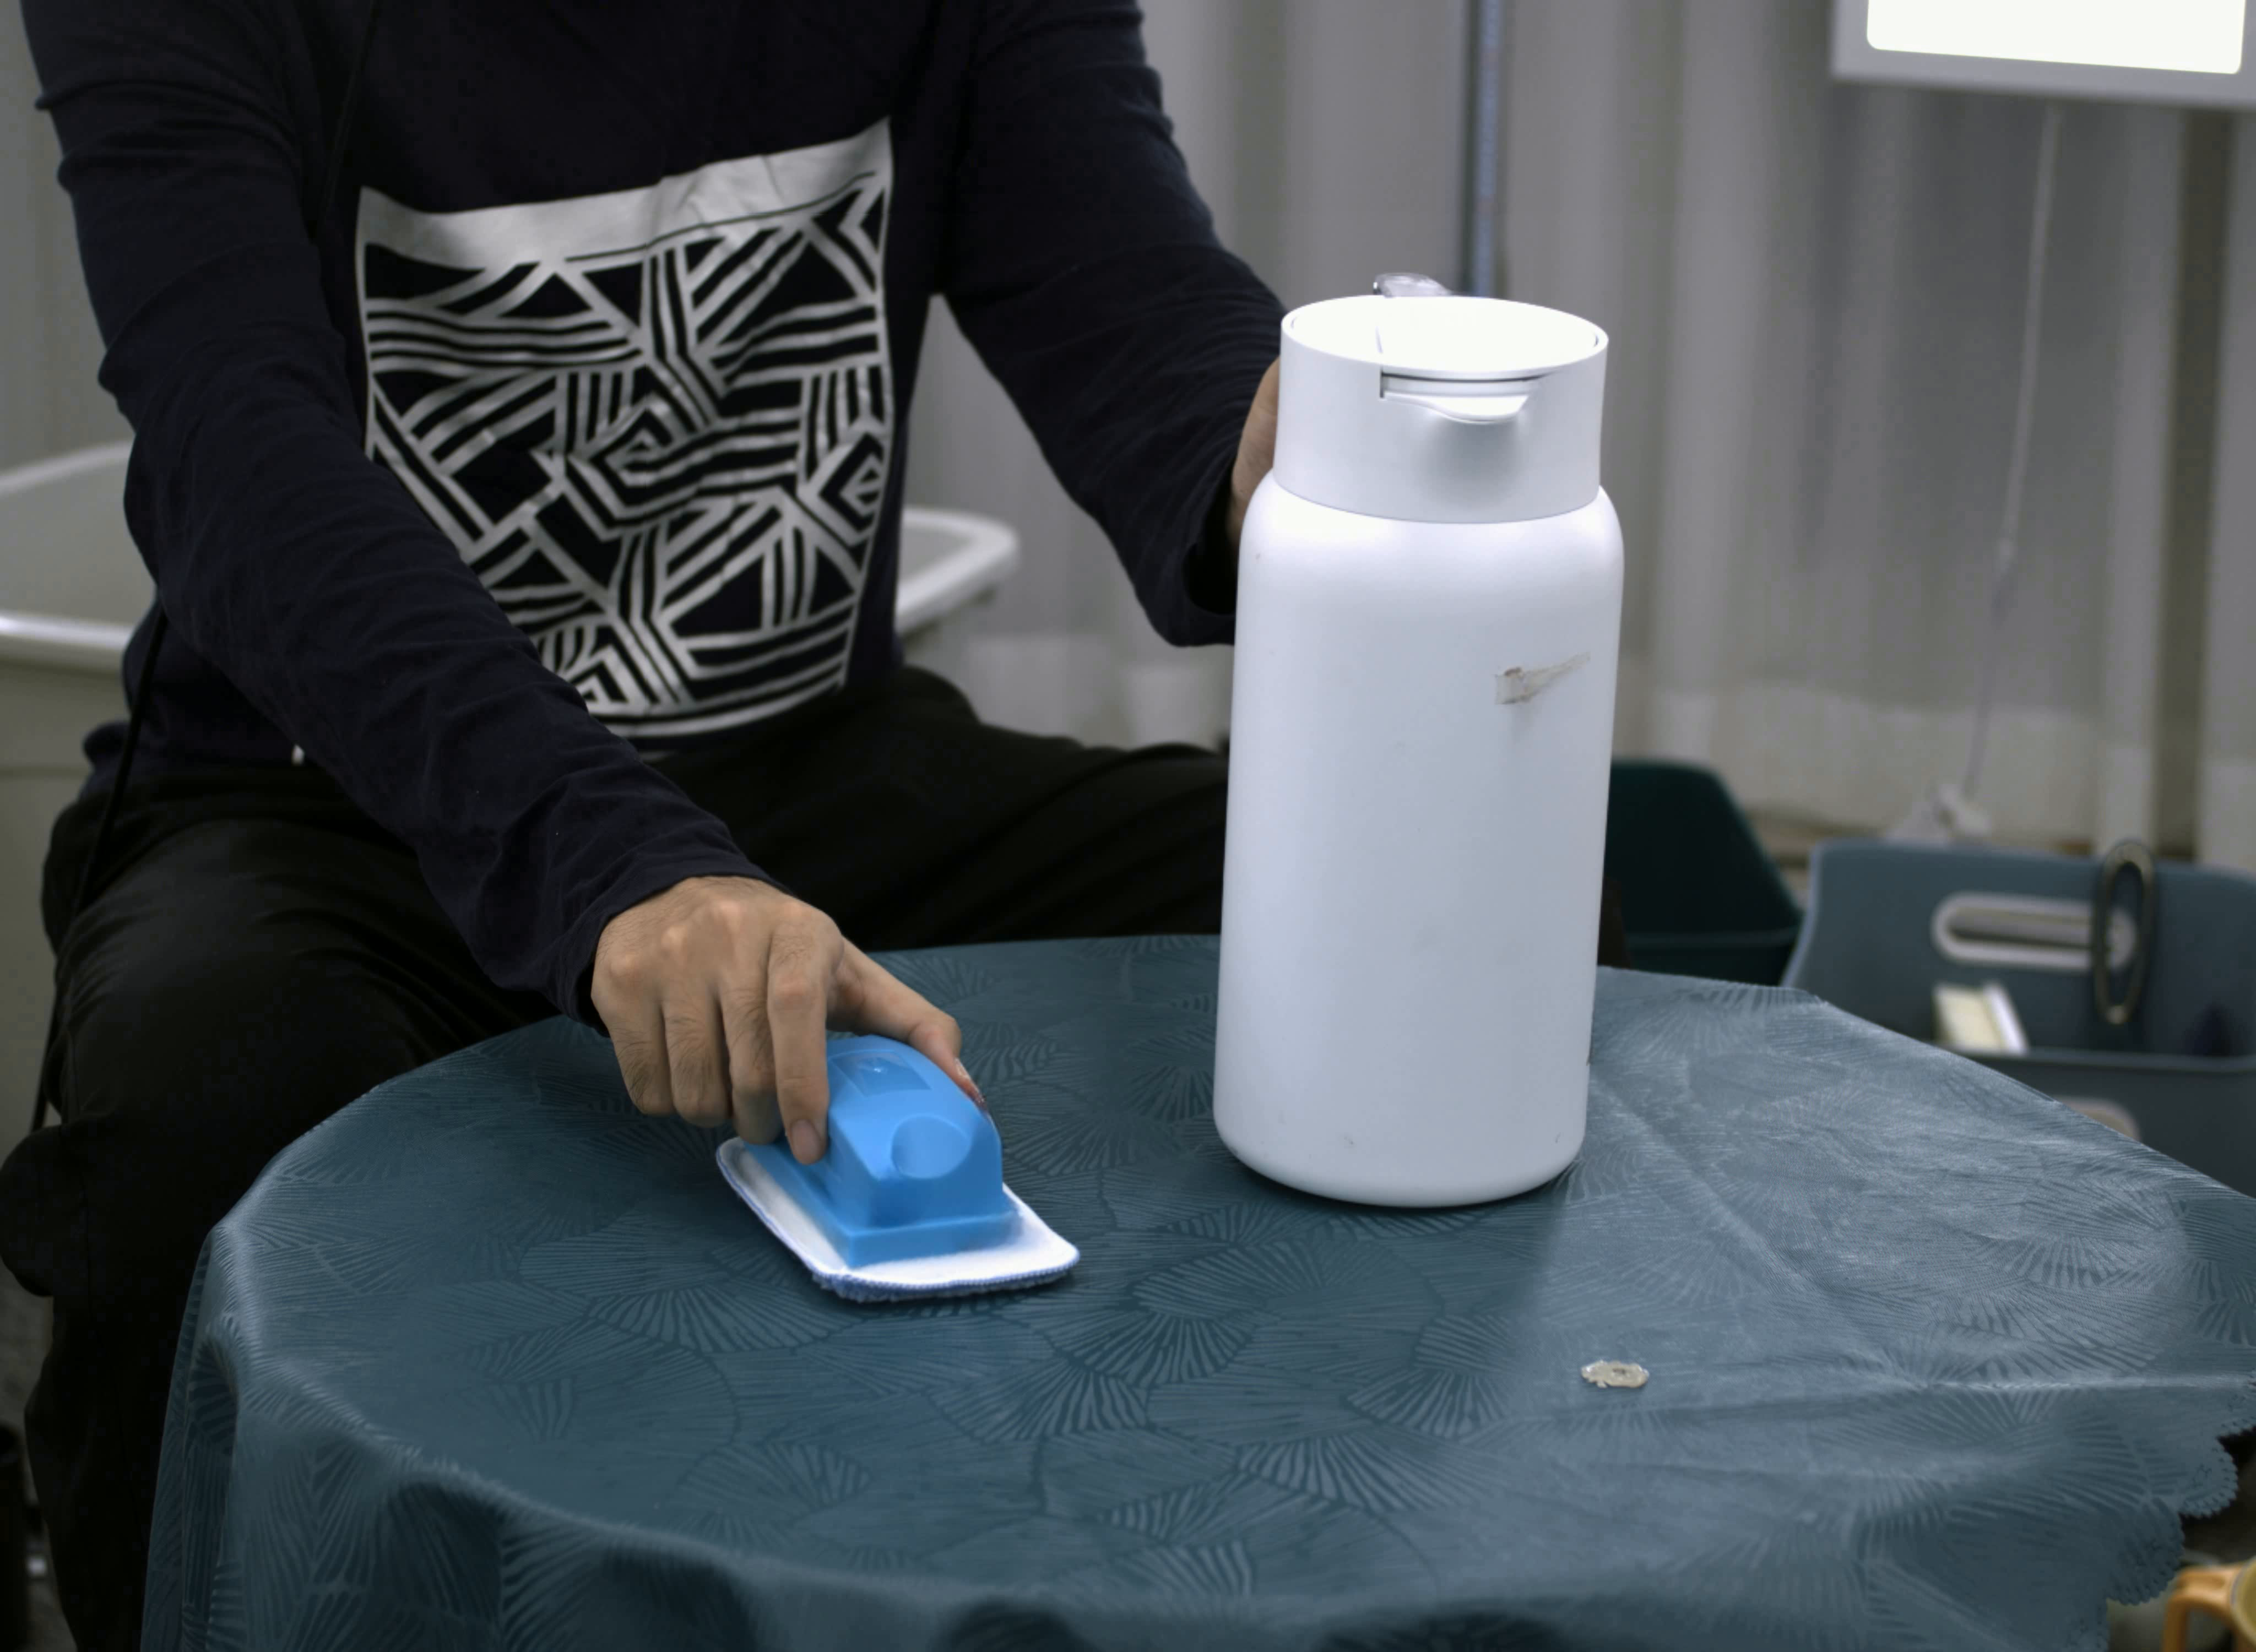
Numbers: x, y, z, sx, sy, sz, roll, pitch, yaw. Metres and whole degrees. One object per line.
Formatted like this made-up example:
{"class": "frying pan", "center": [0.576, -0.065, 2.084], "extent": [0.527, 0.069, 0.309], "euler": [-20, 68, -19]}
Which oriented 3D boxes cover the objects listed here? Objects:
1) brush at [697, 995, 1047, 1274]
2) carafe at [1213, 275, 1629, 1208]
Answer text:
{"class": "brush", "center": [-0.076, 0.090, 1.586], "extent": [0.084, 0.056, 0.142], "euler": [-1, 18, -19]}
{"class": "carafe", "center": [0.087, -0.030, 1.629], "extent": [0.124, 0.271, 0.171], "euler": [-3, 19, -9]}
